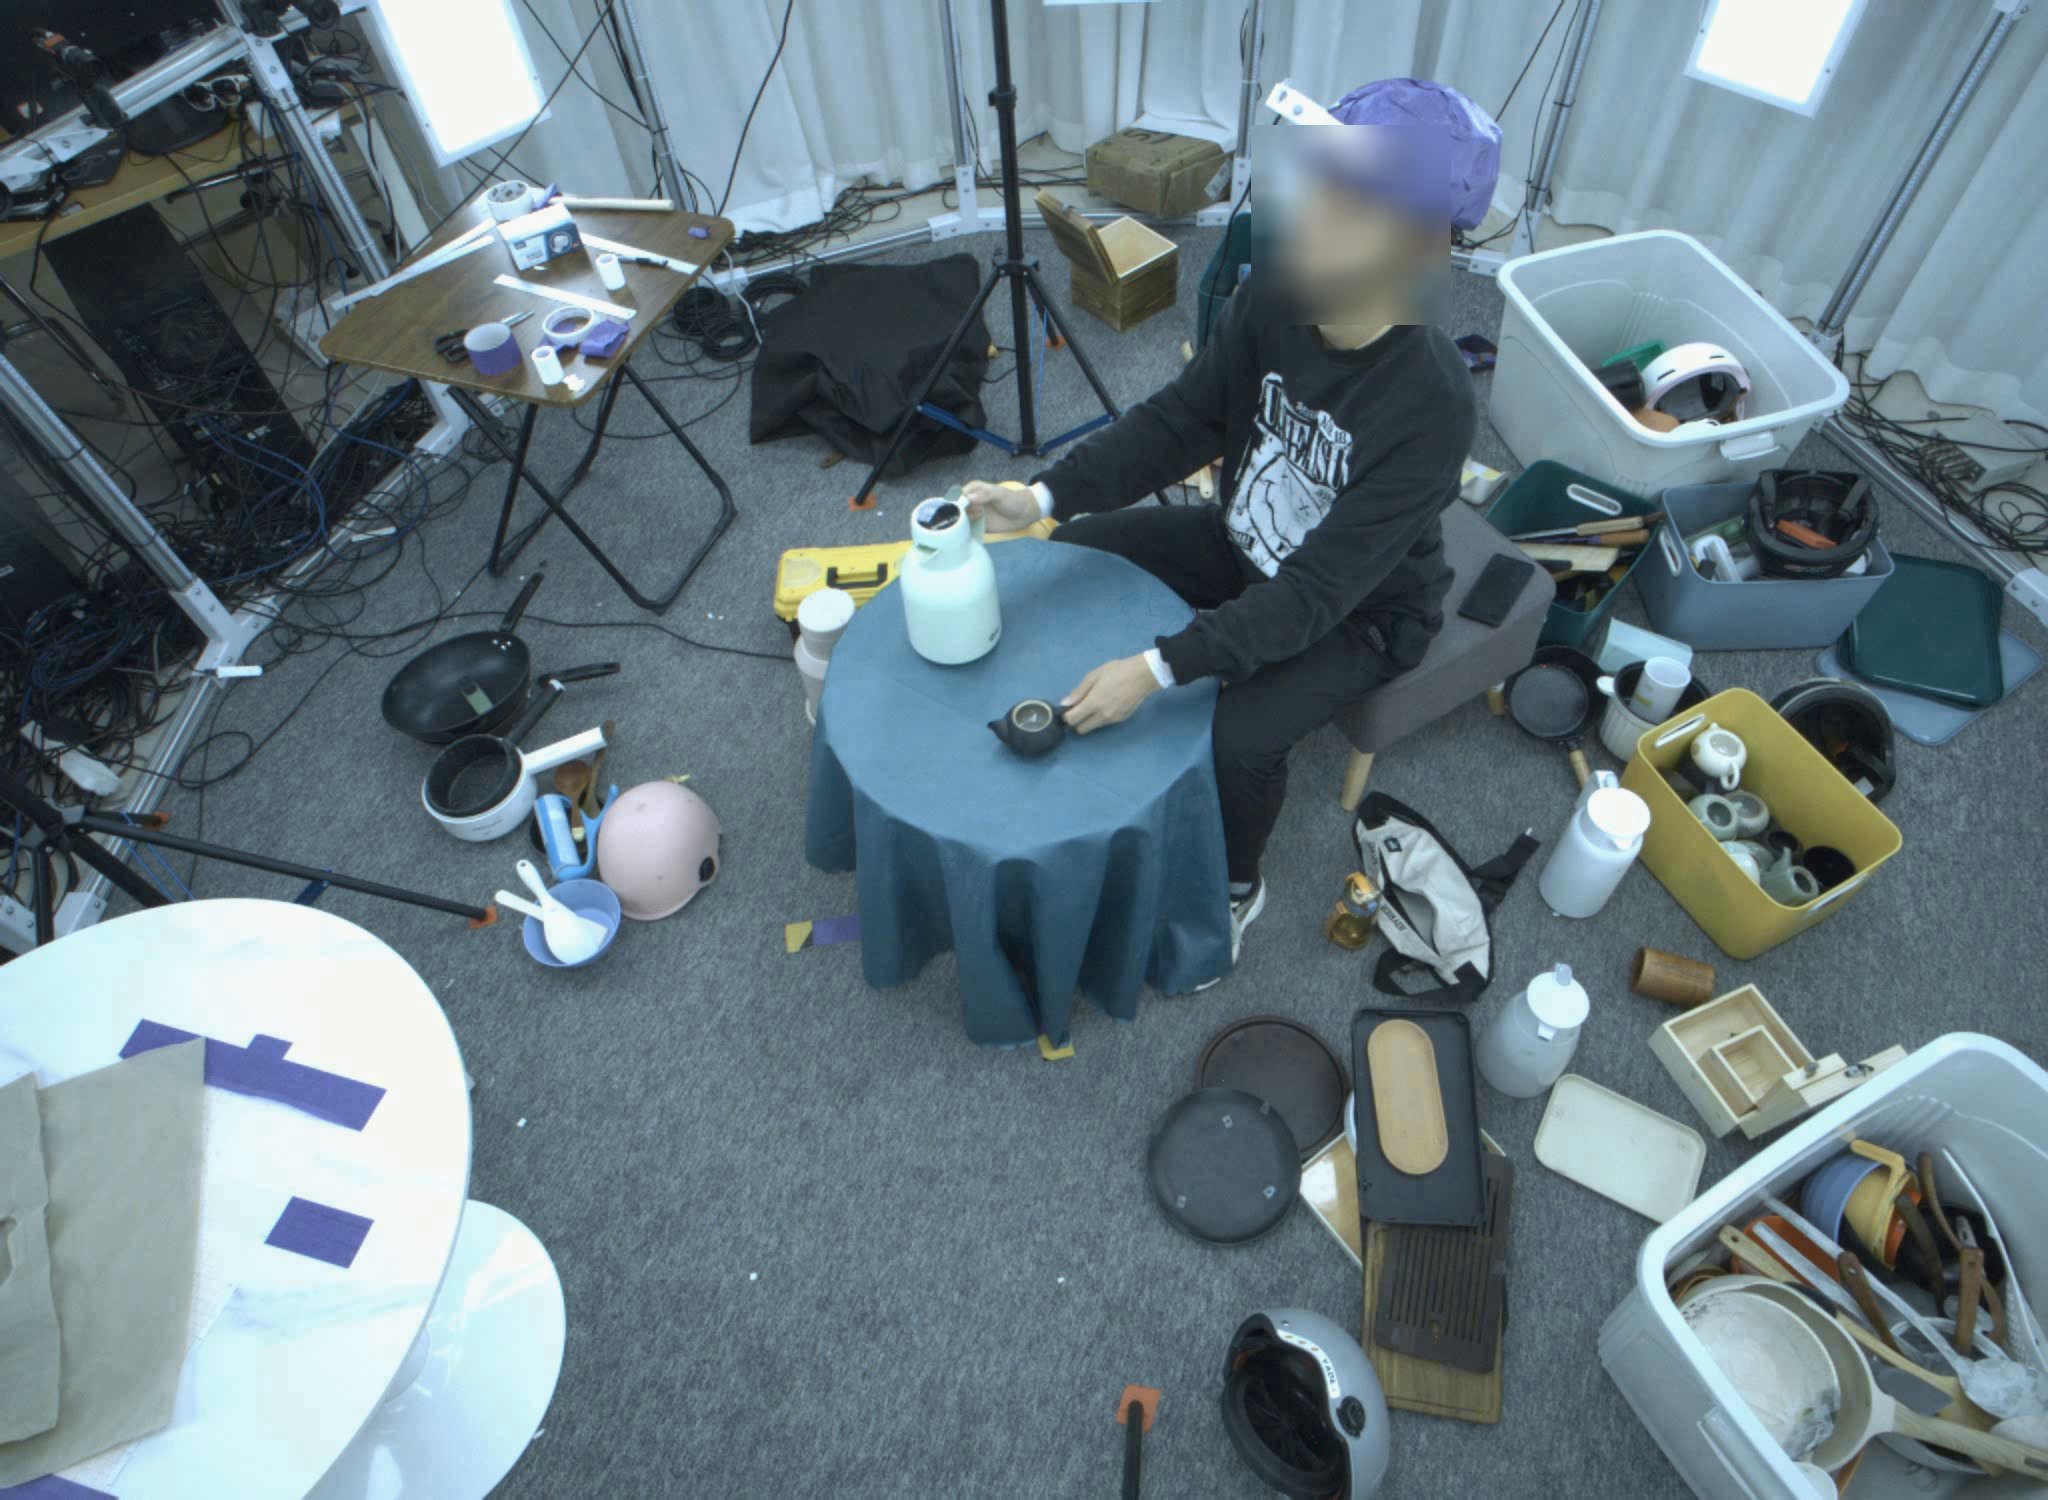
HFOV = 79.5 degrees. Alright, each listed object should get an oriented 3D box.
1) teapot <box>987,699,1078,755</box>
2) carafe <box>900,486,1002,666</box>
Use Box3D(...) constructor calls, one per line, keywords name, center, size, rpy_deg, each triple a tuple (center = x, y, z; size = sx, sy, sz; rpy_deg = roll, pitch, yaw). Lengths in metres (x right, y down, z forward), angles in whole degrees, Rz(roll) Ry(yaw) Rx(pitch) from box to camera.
Box3D(name="teapot", center=(0.014, -0.035, 1.774), size=(0.134, 0.053, 0.089), rpy_deg=(-13, 56, -6))
Box3D(name="carafe", center=(-0.108, -0.265, 1.821), size=(0.142, 0.260, 0.187), rpy_deg=(16, 53, 16))
